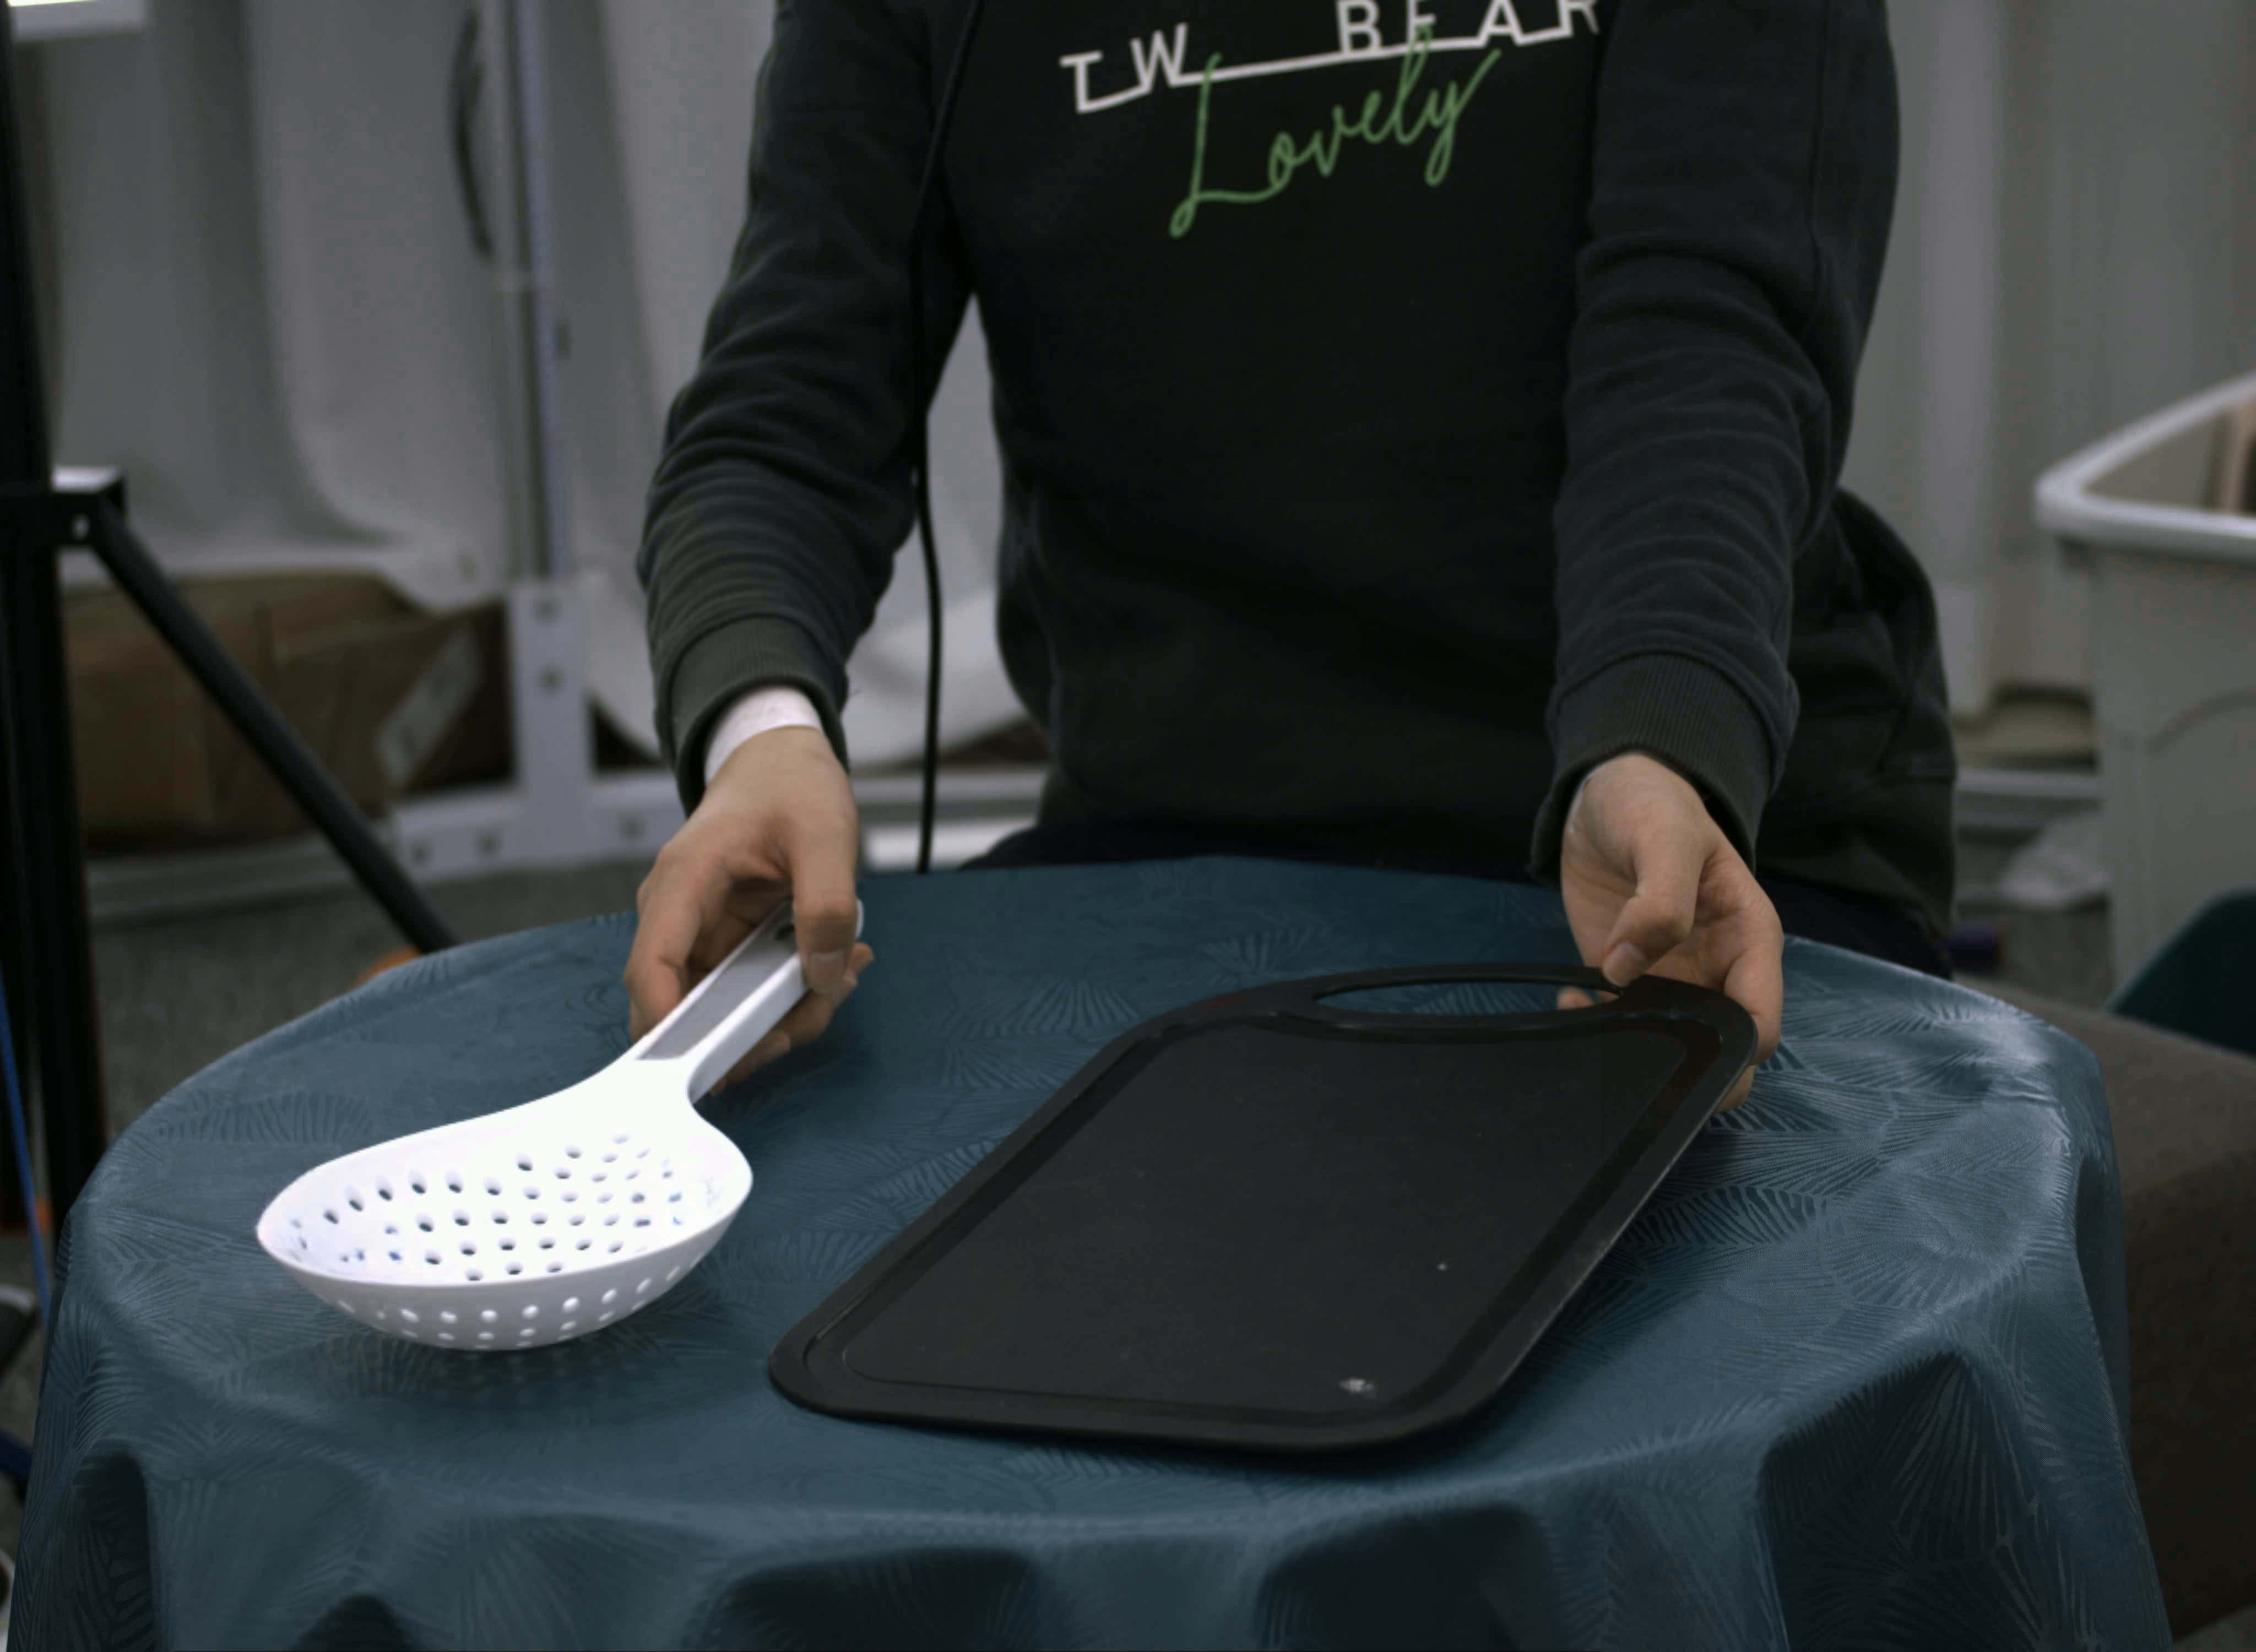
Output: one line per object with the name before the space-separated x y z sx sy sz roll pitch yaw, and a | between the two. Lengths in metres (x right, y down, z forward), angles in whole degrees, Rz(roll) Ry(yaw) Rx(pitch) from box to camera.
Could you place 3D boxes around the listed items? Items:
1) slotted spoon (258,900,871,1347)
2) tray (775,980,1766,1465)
slotted spoon | -0.142 0.079 1.564 0.137 0.045 0.347 2 21 16
tray | 0.049 0.102 1.501 0.214 0.010 0.321 2 21 26
